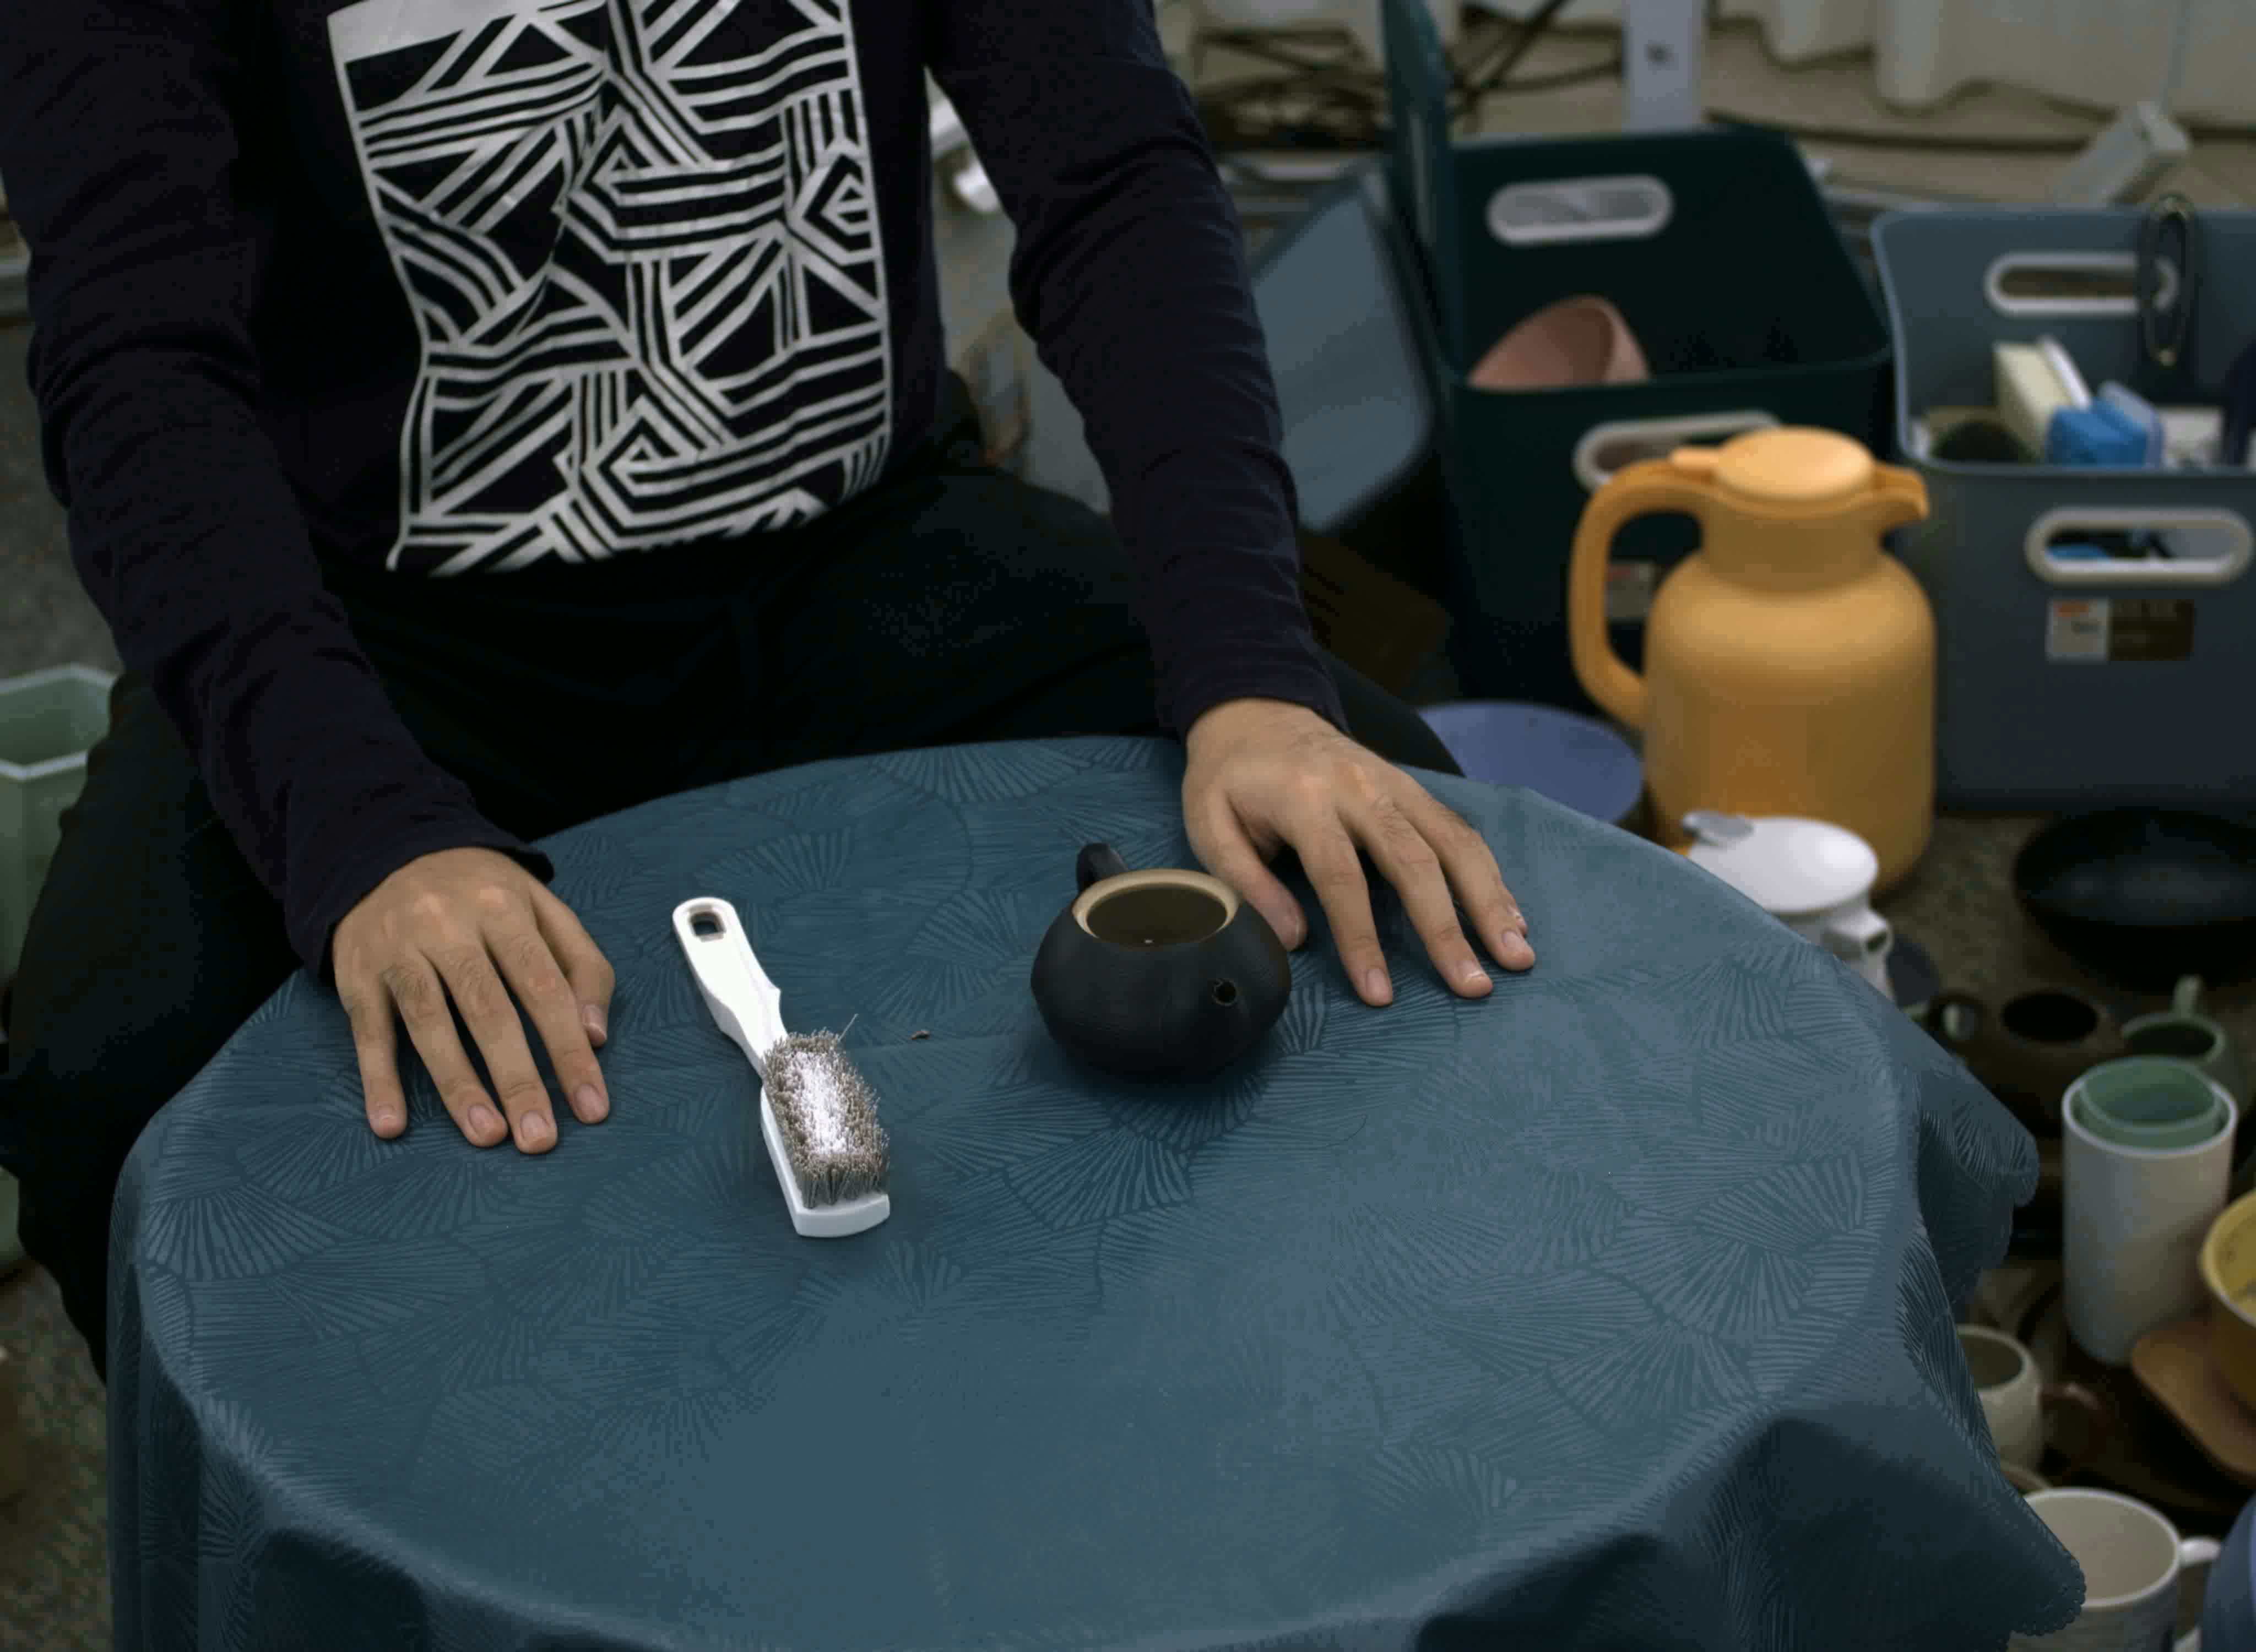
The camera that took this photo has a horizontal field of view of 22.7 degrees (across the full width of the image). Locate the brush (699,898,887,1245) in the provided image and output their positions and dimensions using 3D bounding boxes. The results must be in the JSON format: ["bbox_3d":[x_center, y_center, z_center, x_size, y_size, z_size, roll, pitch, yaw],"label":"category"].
[{"bbox_3d":[-0.121,0.066,1.927,0.034,0.050,0.246,-12,28,-8],"label":"brush"}]

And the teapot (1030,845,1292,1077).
[{"bbox_3d":[0.011,0.051,1.938,0.091,0.052,0.134,-10,28,-20],"label":"teapot"}]
